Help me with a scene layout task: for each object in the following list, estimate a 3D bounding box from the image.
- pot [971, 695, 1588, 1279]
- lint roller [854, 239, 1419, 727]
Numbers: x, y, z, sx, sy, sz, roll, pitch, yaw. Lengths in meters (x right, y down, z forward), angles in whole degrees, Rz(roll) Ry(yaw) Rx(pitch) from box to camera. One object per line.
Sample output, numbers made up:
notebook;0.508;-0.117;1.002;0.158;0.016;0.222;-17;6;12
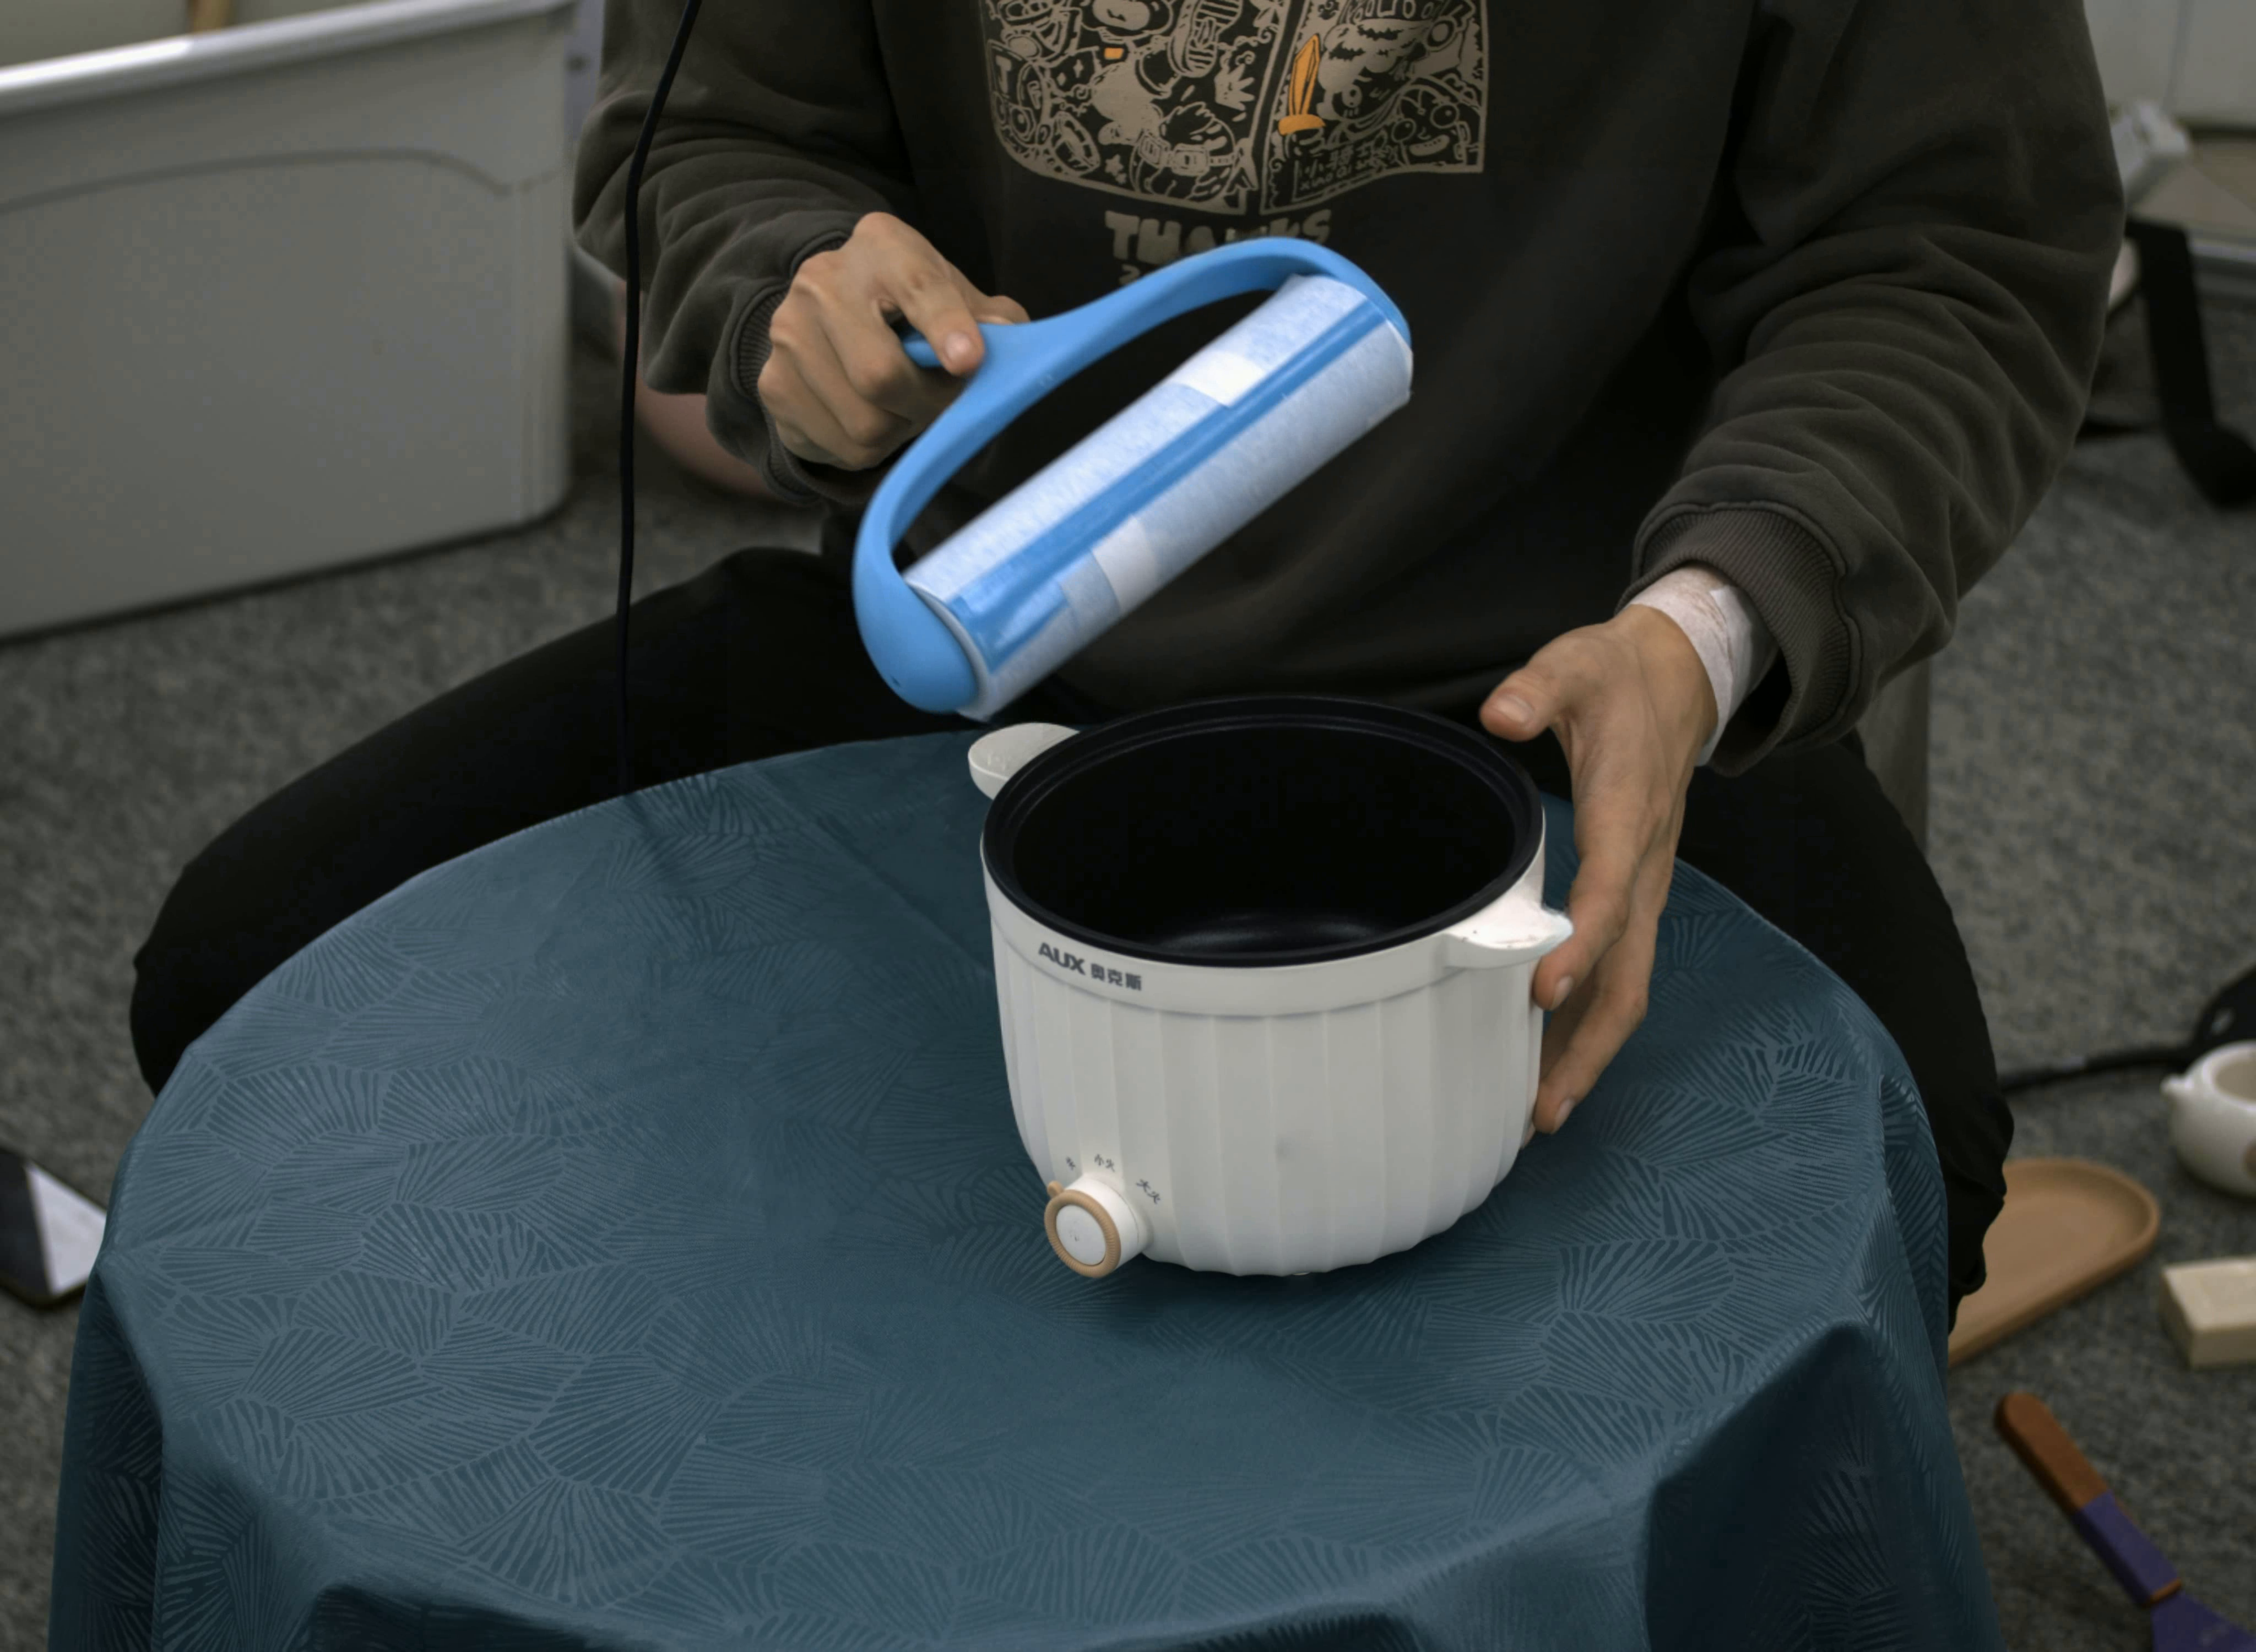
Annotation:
pot;0.045;0.059;1.829;0.239;0.141;0.193;17;30;36
lint roller;-0.032;-0.134;1.881;0.180;0.067;0.232;30;58;33
